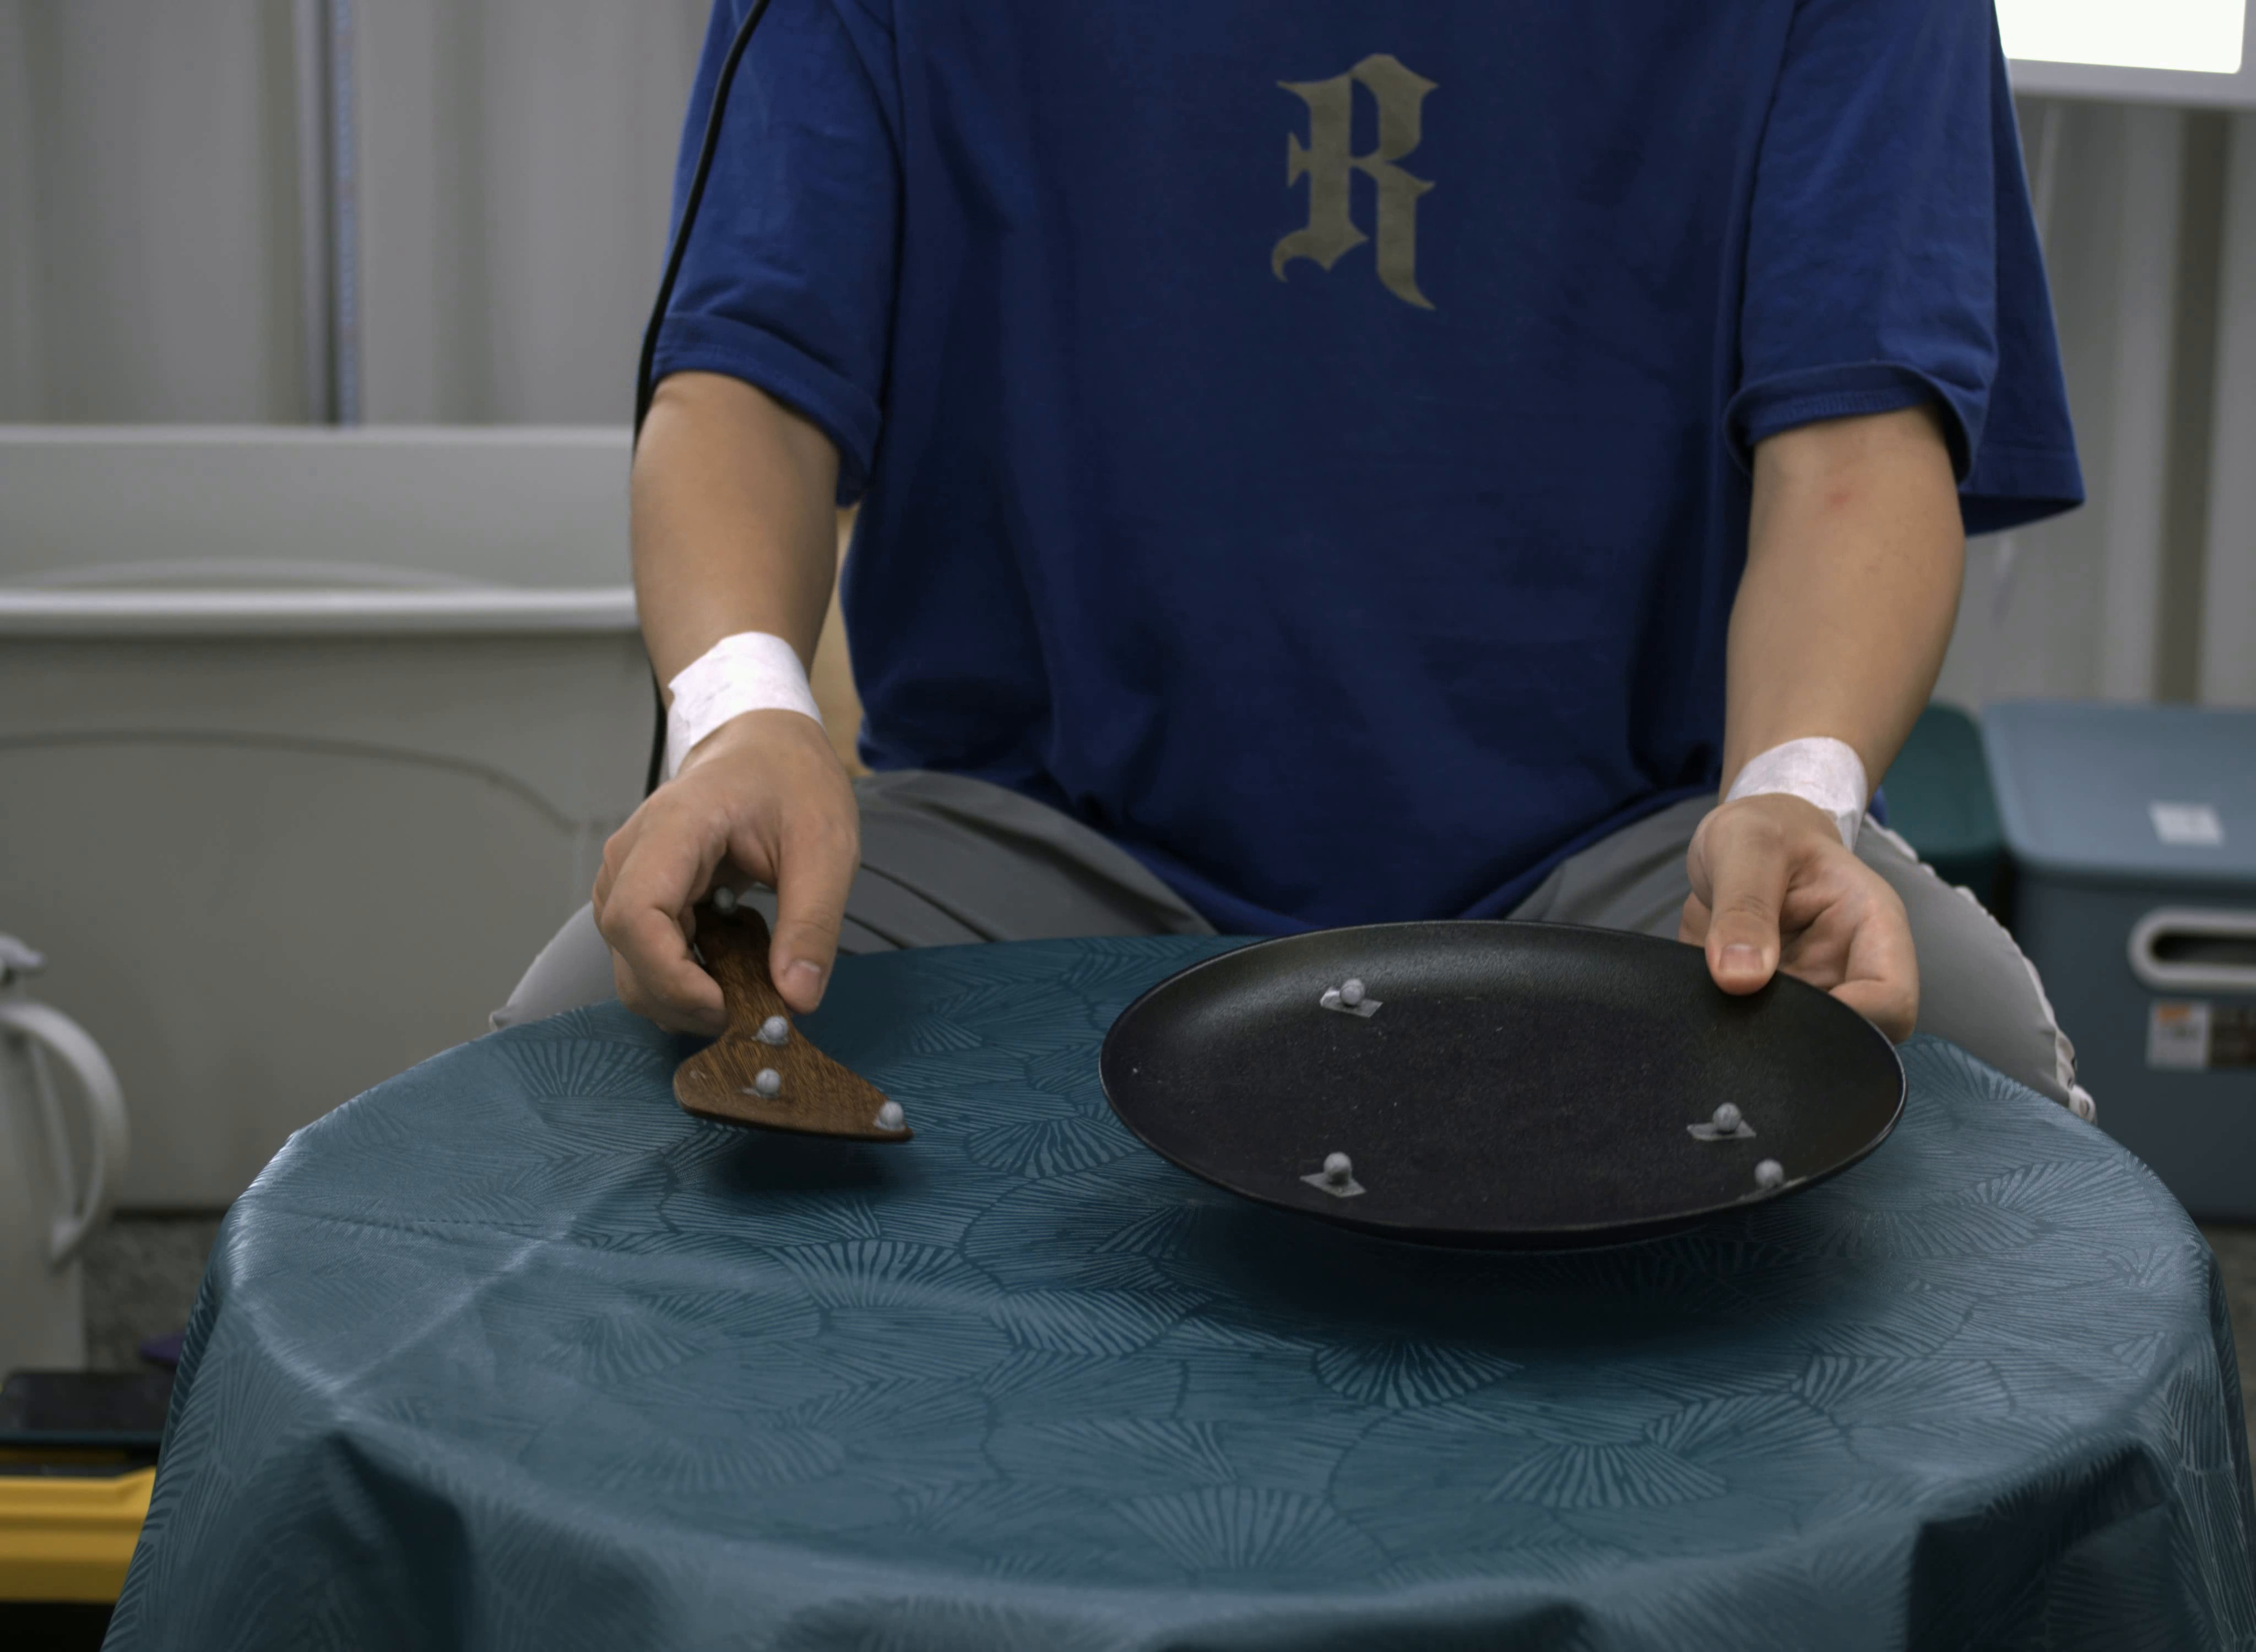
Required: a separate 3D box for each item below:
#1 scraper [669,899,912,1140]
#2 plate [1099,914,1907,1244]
[{"bbox_3d":[-0.120,0.061,1.701,0.076,0.011,0.209,9,17,-14],"label":"scraper"},{"bbox_3d":[0.112,0.079,1.588,0.243,0.023,0.243,1,20,0],"label":"plate"}]
